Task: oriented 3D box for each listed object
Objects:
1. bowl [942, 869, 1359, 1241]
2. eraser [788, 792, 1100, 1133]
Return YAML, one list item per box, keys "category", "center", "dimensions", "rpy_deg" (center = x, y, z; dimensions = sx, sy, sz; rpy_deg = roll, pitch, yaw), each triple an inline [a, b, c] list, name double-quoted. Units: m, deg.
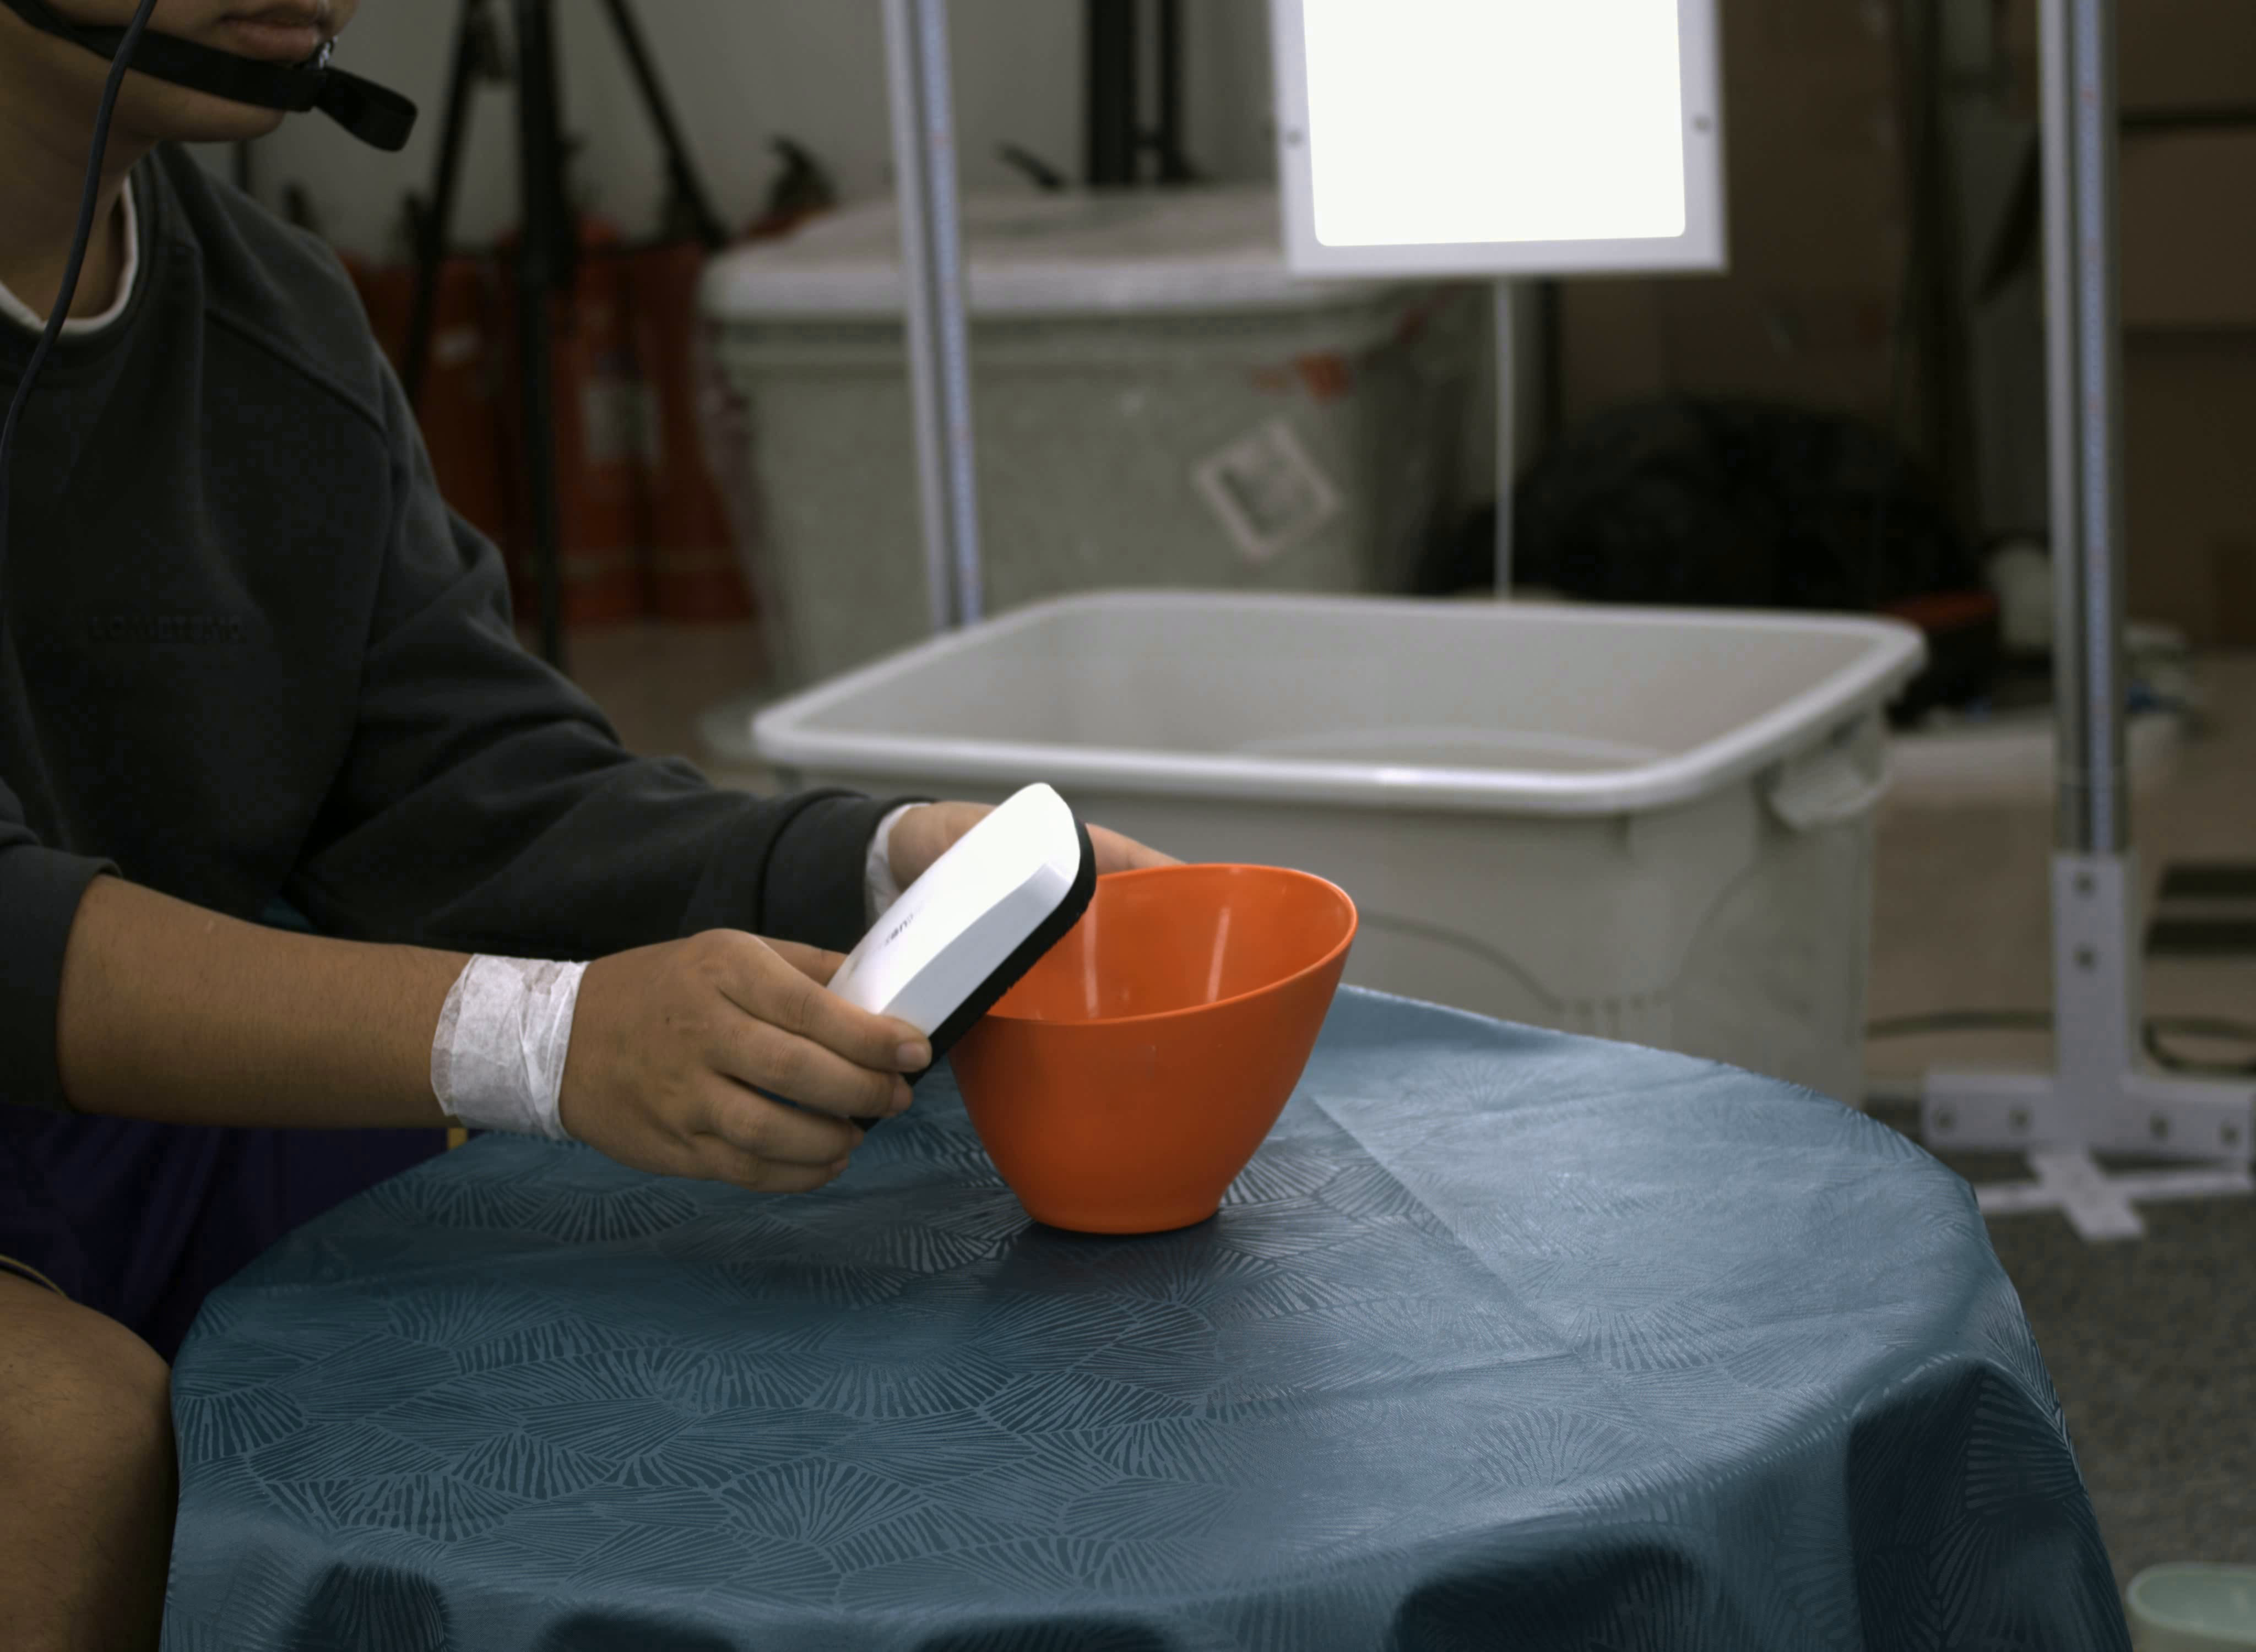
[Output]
- category: "bowl"
  center: [0.006, 0.080, 1.869]
  dimensions: [0.147, 0.105, 0.148]
  rpy_deg: [-2, 13, -1]
- category: "eraser"
  center: [-0.063, 0.043, 1.814]
  dimensions: [0.133, 0.034, 0.063]
  rpy_deg: [-43, 21, 24]
